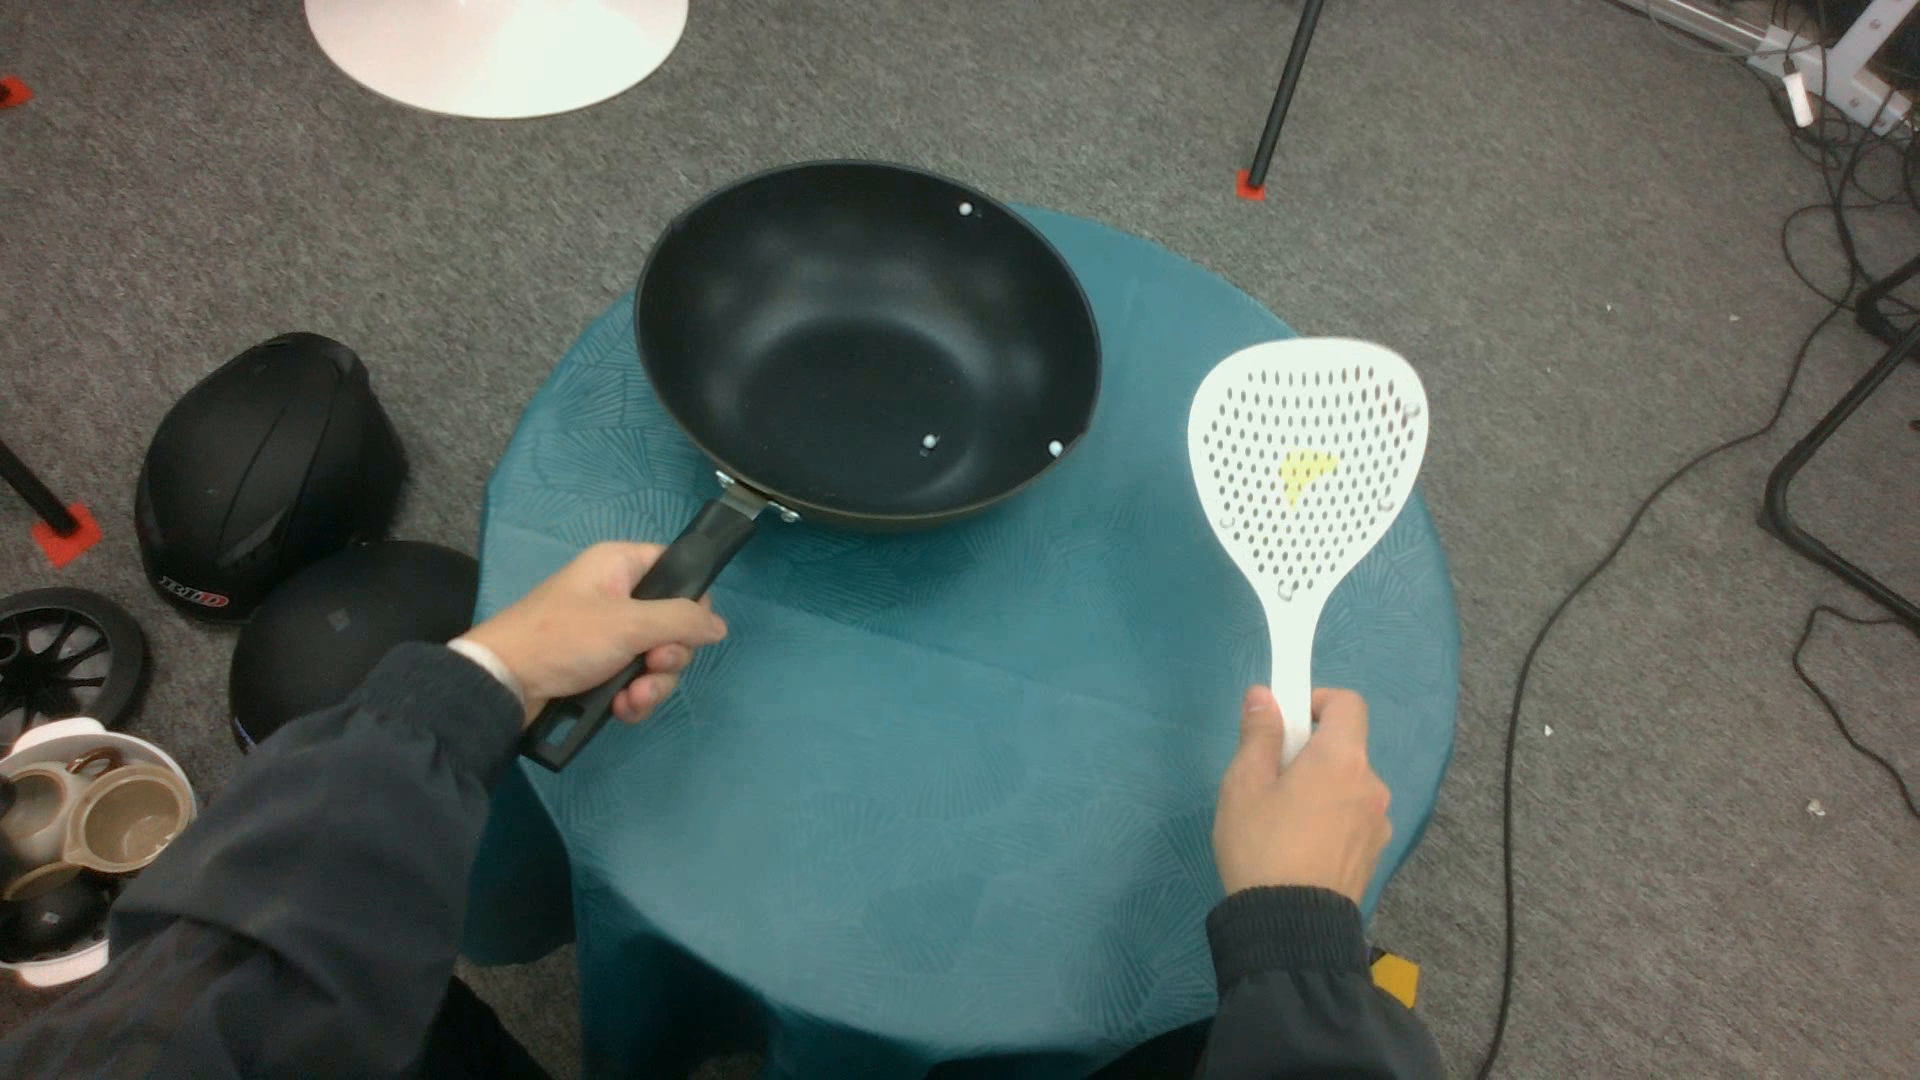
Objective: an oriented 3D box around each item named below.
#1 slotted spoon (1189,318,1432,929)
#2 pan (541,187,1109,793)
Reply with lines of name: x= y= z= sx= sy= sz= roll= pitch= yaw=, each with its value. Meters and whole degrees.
slotted spoon: x=0.195 y=0.033 z=0.762 sx=0.136 sy=0.050 sz=0.349 roll=-3 pitch=62 yaw=18
pan: x=-0.091 y=-0.029 z=0.817 sx=0.288 sy=0.086 sz=0.465 roll=24 pitch=57 yaw=8
